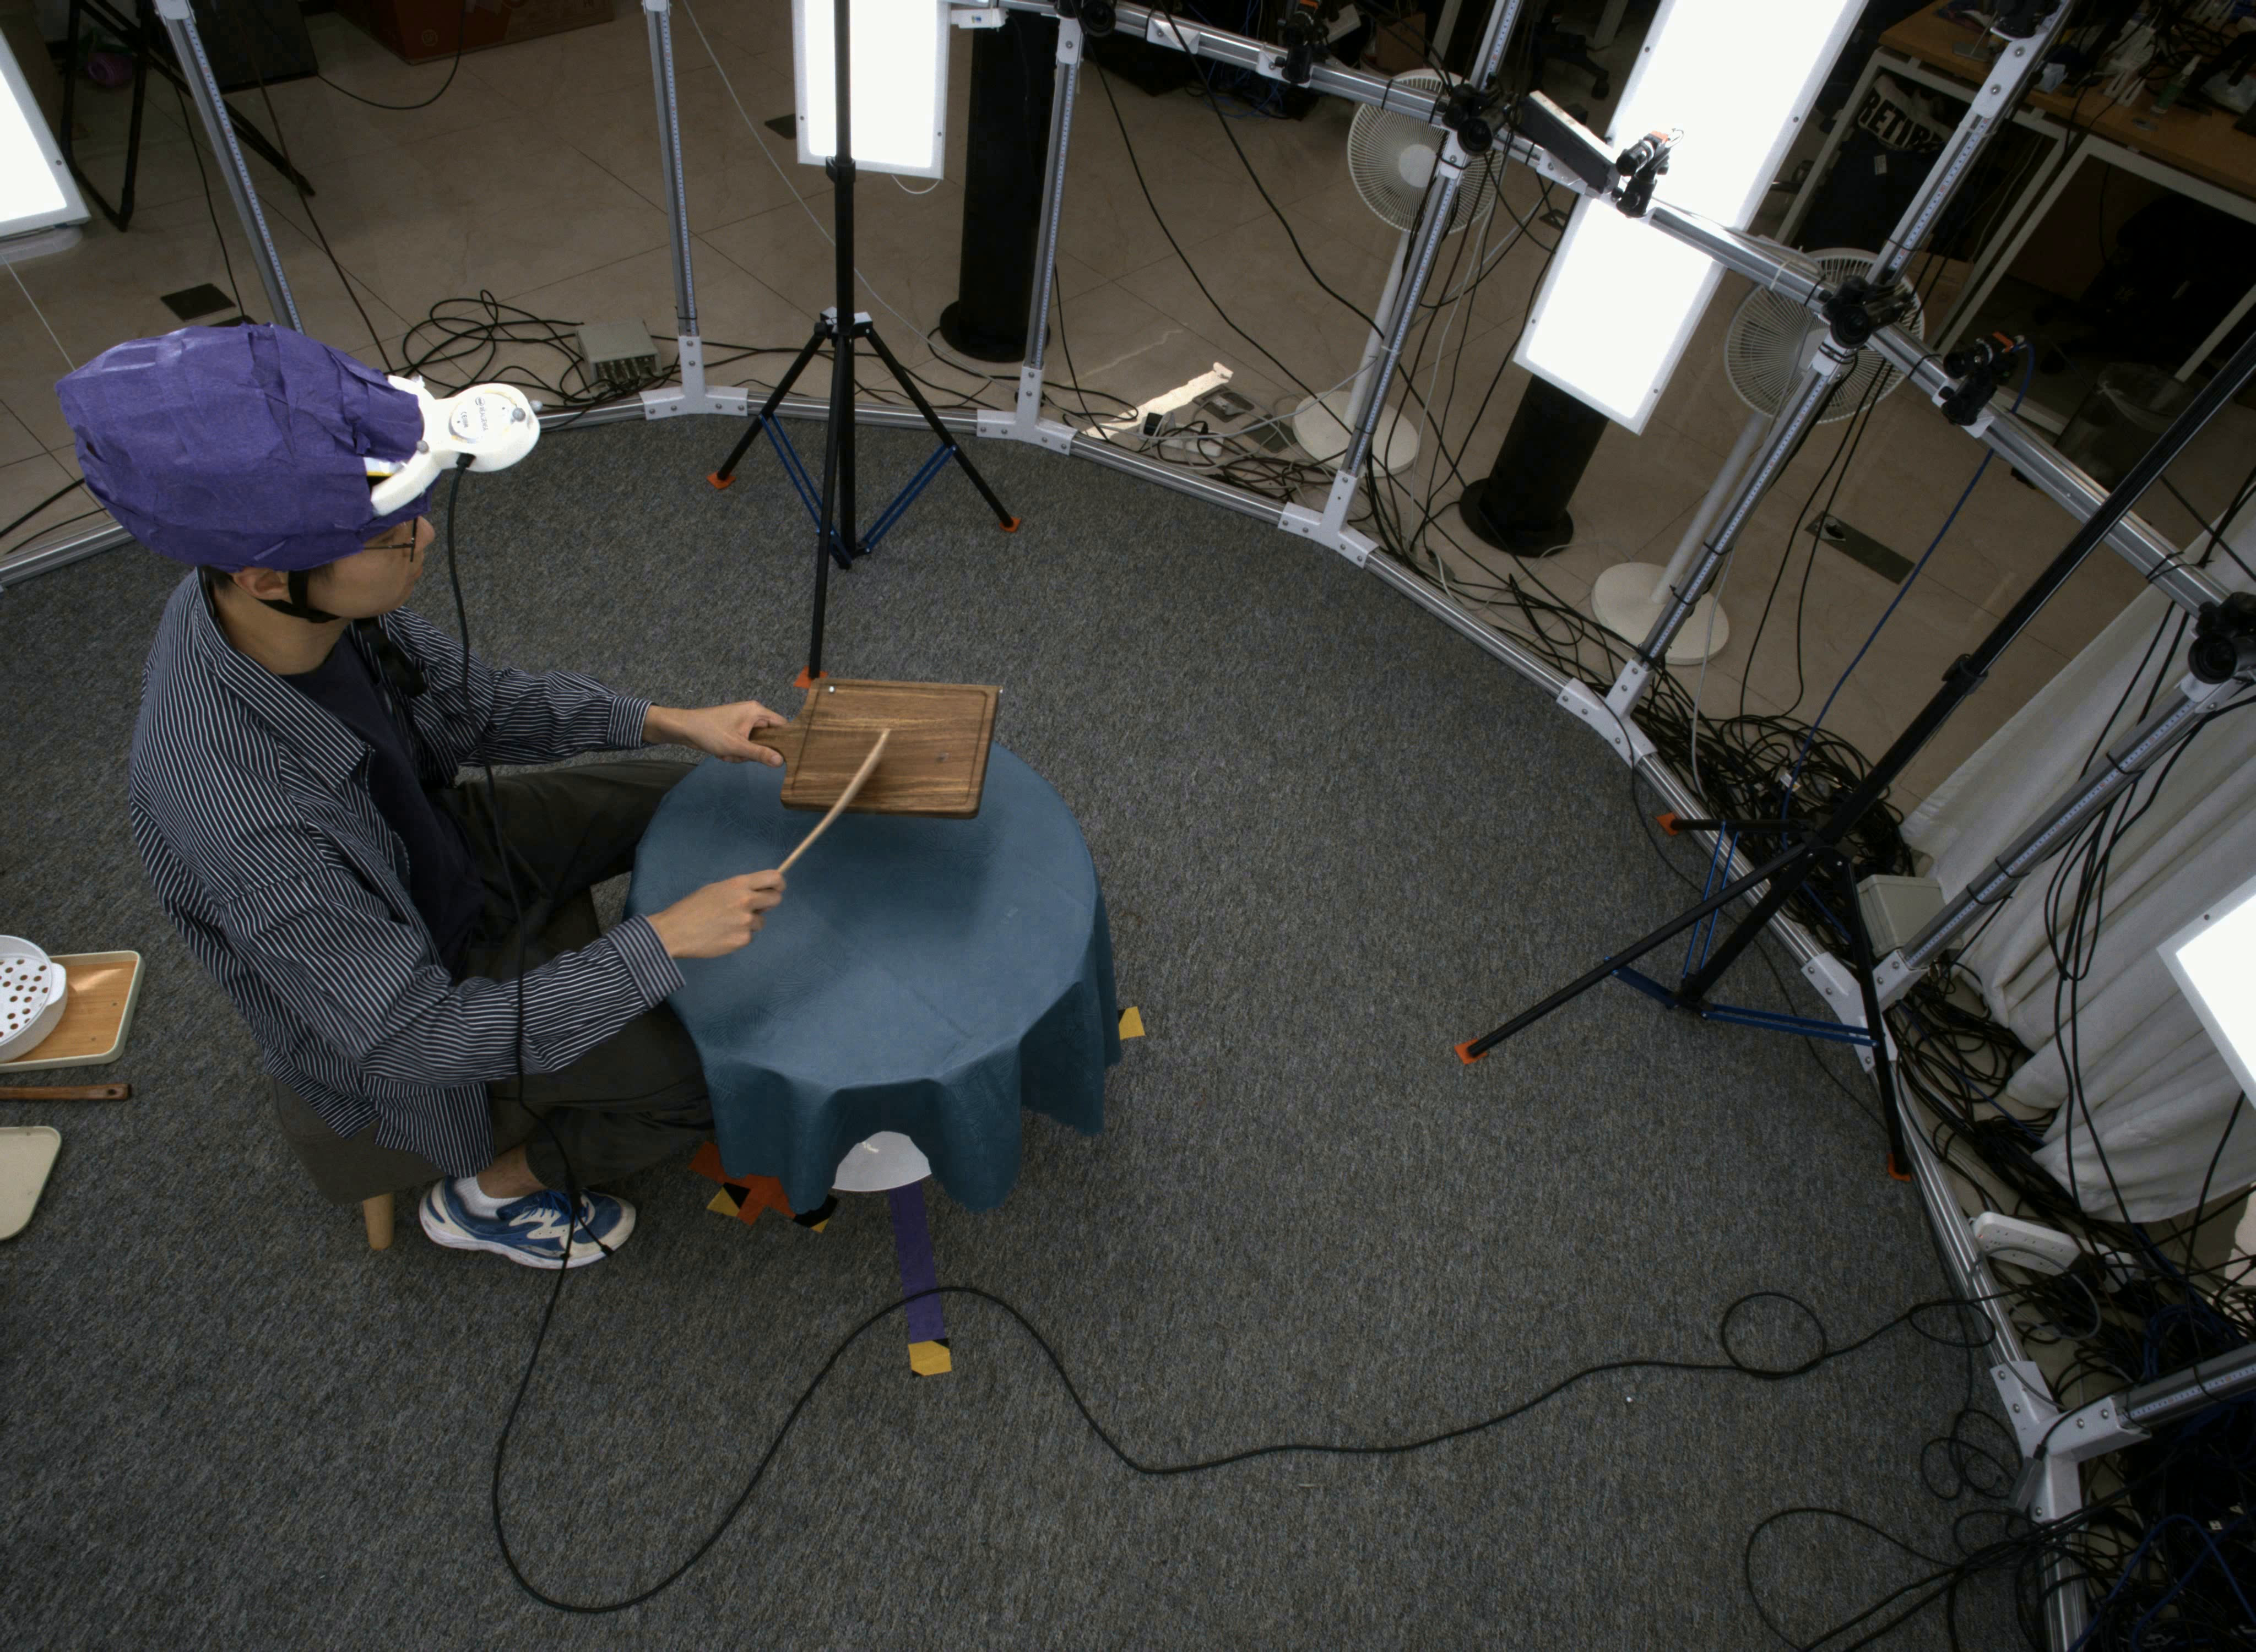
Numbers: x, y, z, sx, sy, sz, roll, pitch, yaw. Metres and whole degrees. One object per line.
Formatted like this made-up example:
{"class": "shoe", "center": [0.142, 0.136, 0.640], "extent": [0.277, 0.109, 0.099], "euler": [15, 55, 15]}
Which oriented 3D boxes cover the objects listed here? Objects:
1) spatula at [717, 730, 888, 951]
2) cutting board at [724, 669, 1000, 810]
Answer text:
{"class": "spatula", "center": [-0.385, 0.018, 1.547], "extent": [0.016, 0.080, 0.327], "euler": [36, 66, 1]}
{"class": "cutting board", "center": [-0.348, -0.116, 1.667], "extent": [0.347, 0.024, 0.198], "euler": [4, 60, 3]}
